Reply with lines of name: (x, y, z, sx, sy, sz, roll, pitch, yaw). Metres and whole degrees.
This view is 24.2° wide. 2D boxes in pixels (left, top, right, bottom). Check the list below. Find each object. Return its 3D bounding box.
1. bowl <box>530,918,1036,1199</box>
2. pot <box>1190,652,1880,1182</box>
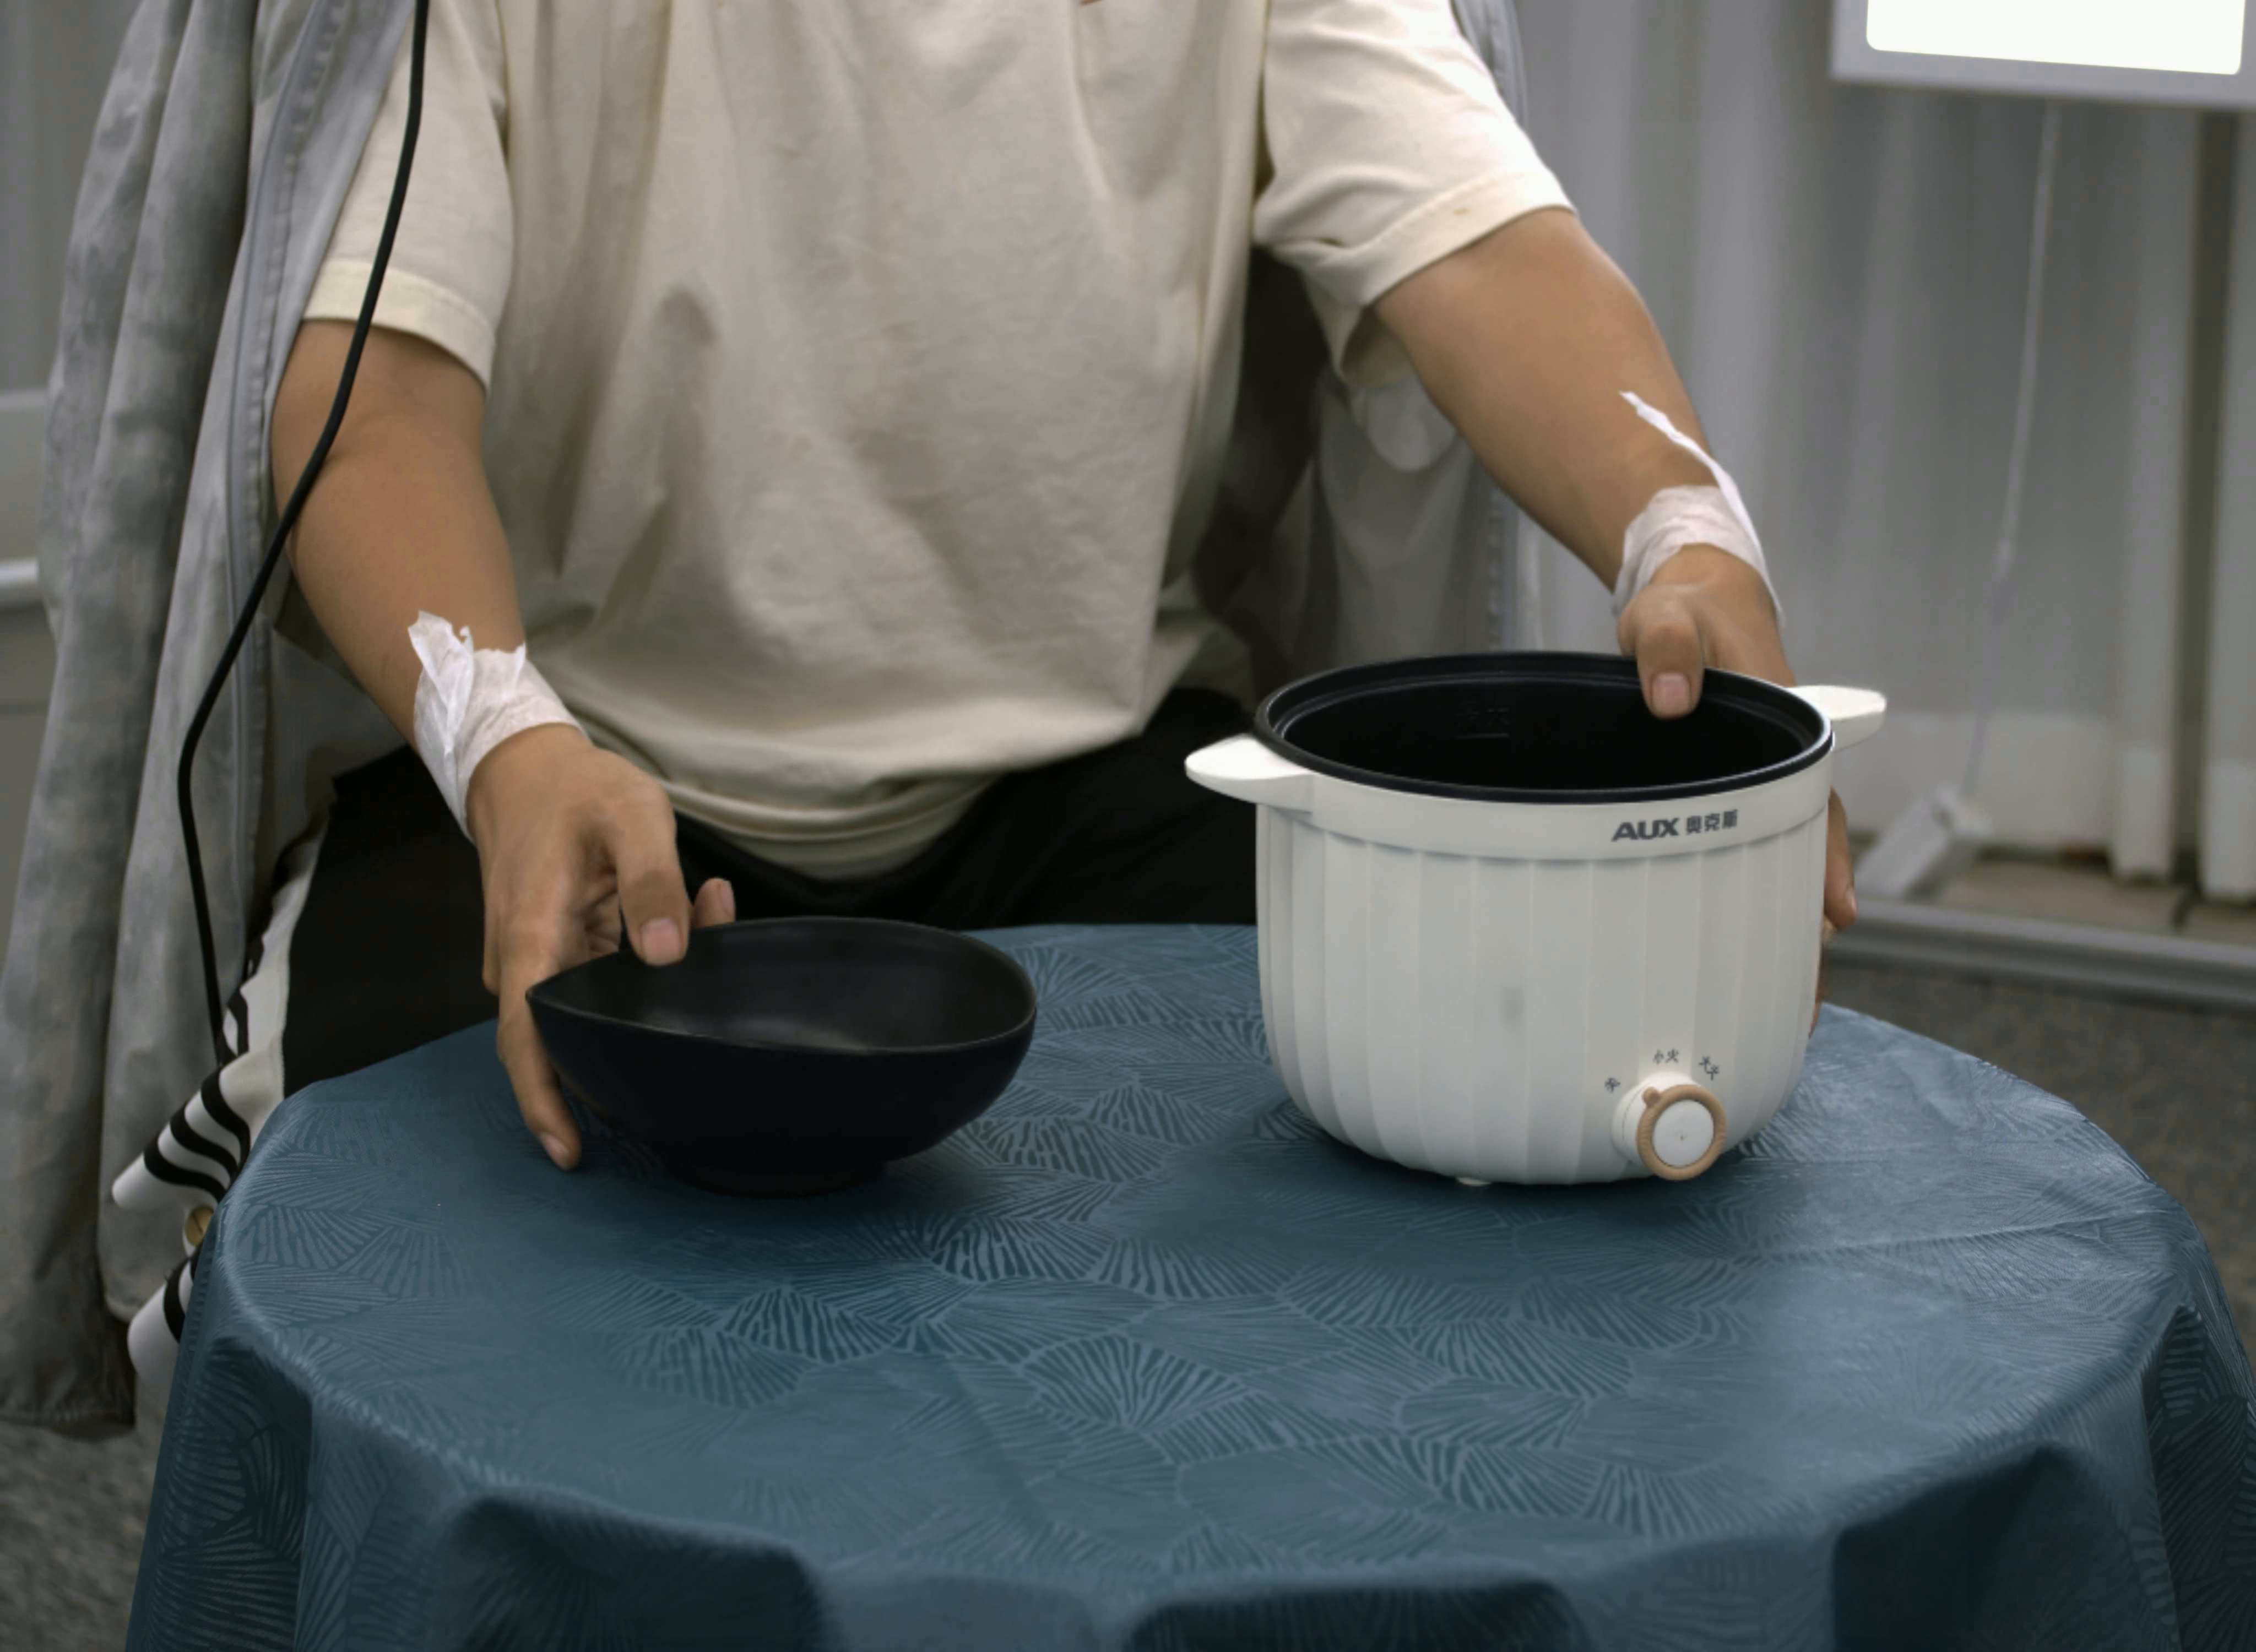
bowl: (-0.109, 0.076, 1.634, 0.168, 0.067, 0.138, 8, 16, 28)
pot: (0.133, 0.031, 1.665, 0.241, 0.144, 0.188, -7, 14, -23)
